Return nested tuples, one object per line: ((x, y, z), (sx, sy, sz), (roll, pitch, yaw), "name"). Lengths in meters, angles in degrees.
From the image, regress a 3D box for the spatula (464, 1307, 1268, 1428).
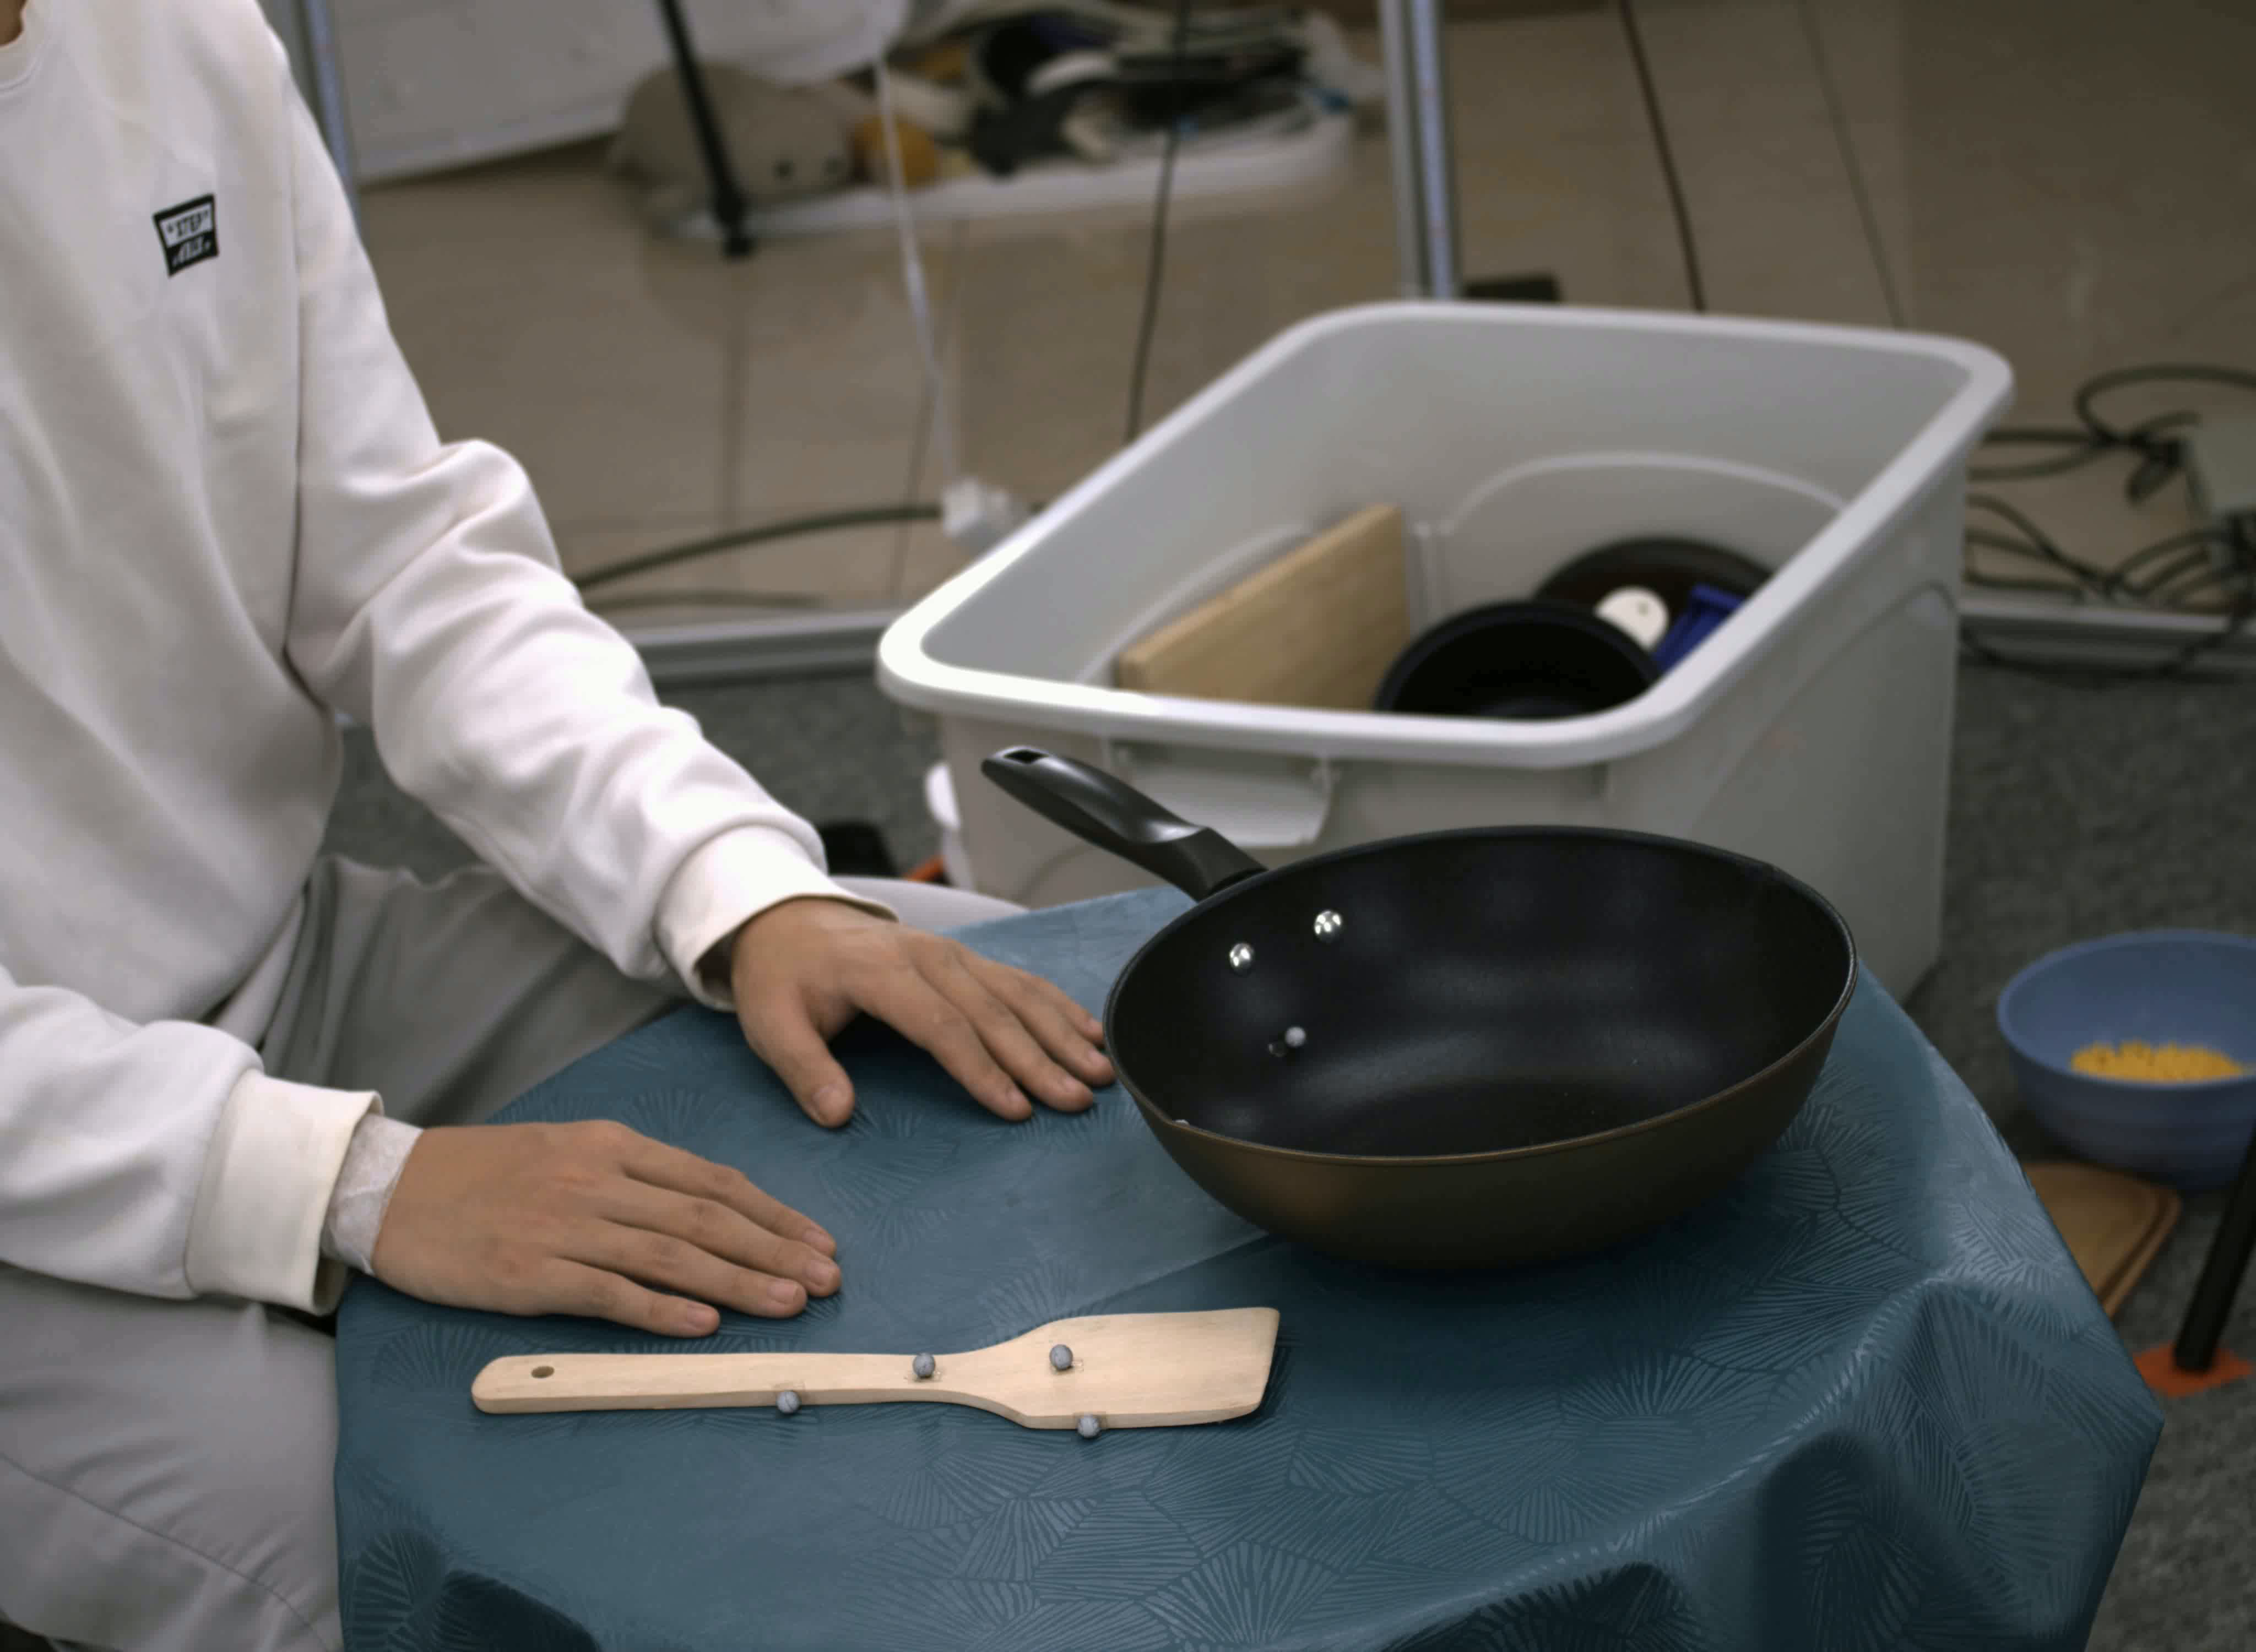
((-0.096, 0.197, 2.034), (0.292, 0.011, 0.071), (-2, 26, 9), "spatula")

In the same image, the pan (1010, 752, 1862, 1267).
((0.083, 0.067, 2.181), (0.286, 0.088, 0.459), (-21, 27, -28), "pan")
